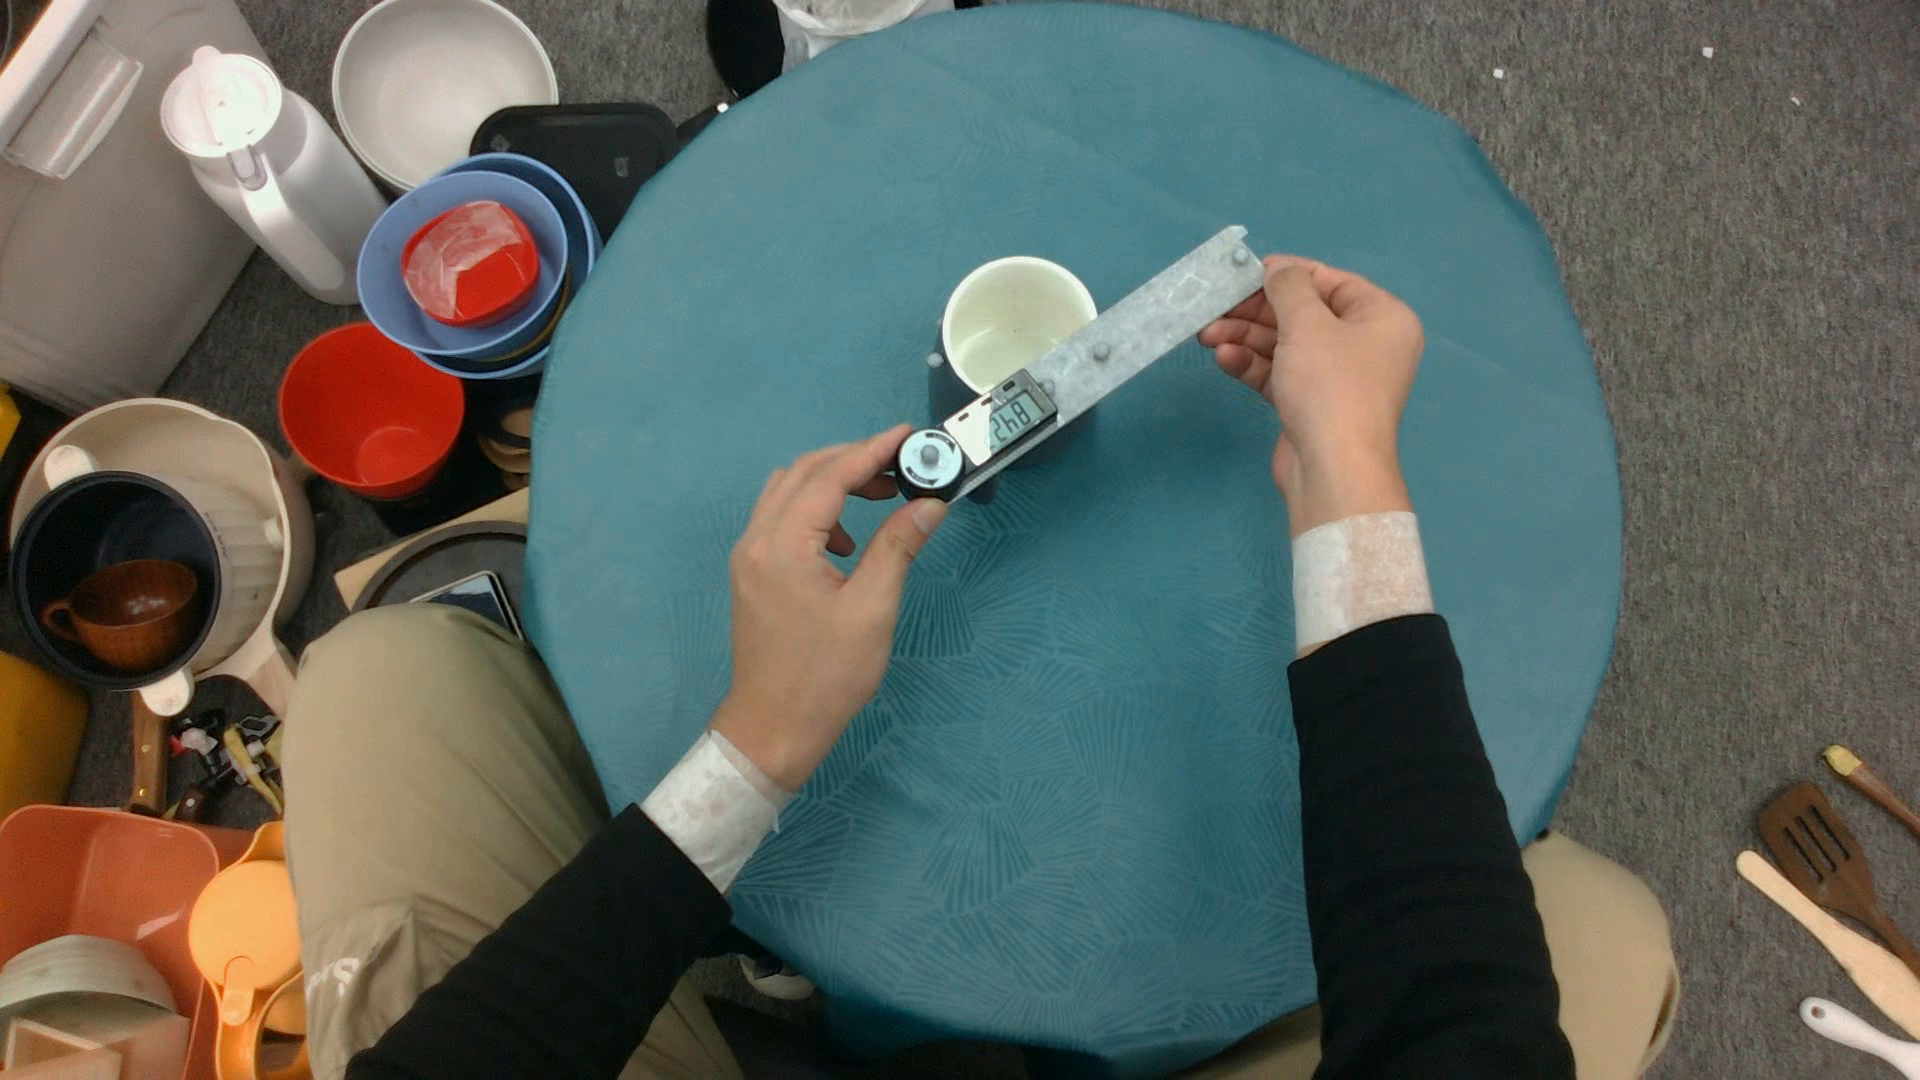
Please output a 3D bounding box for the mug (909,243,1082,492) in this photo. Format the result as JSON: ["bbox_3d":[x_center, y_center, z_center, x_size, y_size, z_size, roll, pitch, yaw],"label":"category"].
[{"bbox_3d":[0.015,-0.085,0.719,0.093,0.089,0.123,17,73,4],"label":"mug"}]

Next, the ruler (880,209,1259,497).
[{"bbox_3d":[0.054,-0.092,0.661,0.218,0.024,0.038,-36,83,-12],"label":"ruler"}]
